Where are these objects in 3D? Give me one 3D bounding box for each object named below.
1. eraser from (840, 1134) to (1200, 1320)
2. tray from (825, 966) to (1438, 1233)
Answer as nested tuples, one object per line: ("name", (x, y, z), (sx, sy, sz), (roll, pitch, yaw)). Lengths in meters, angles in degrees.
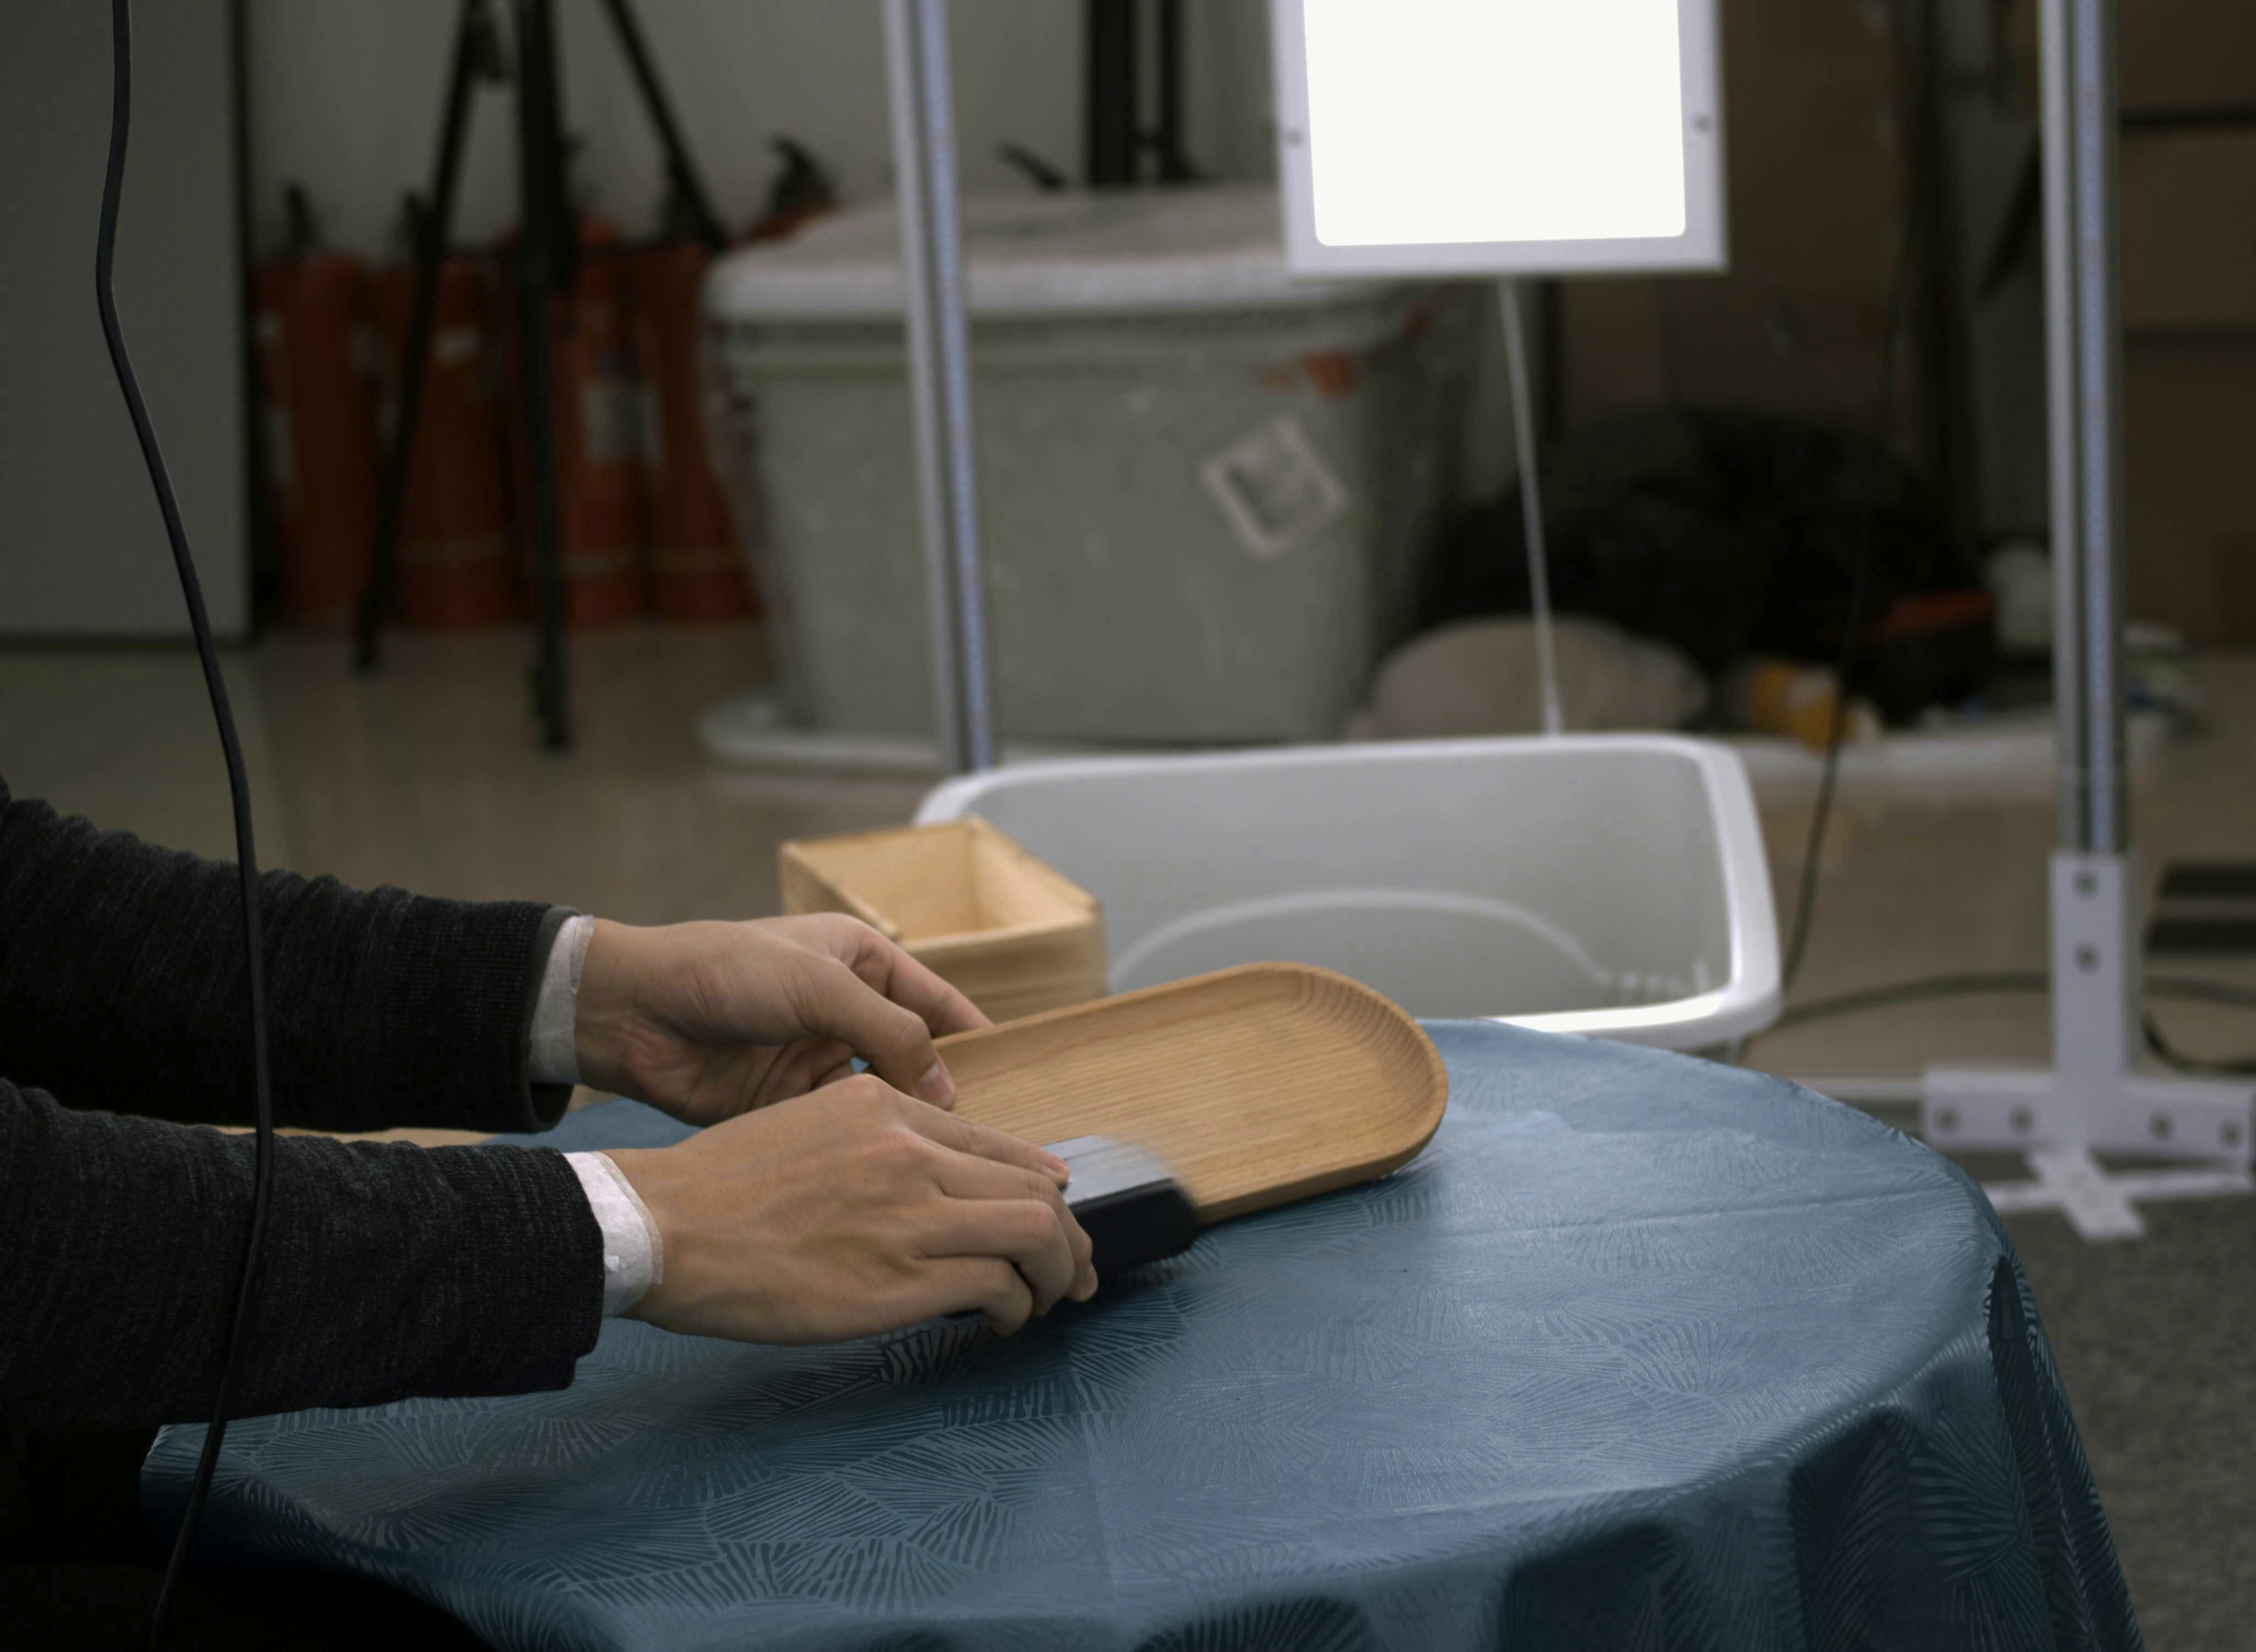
("eraser", (-0.034, 0.128, 1.778), (0.054, 0.030, 0.122), (15, 18, 36))
("tray", (0.003, 0.101, 1.879), (0.226, 0.020, 0.103), (-14, 45, -27))
